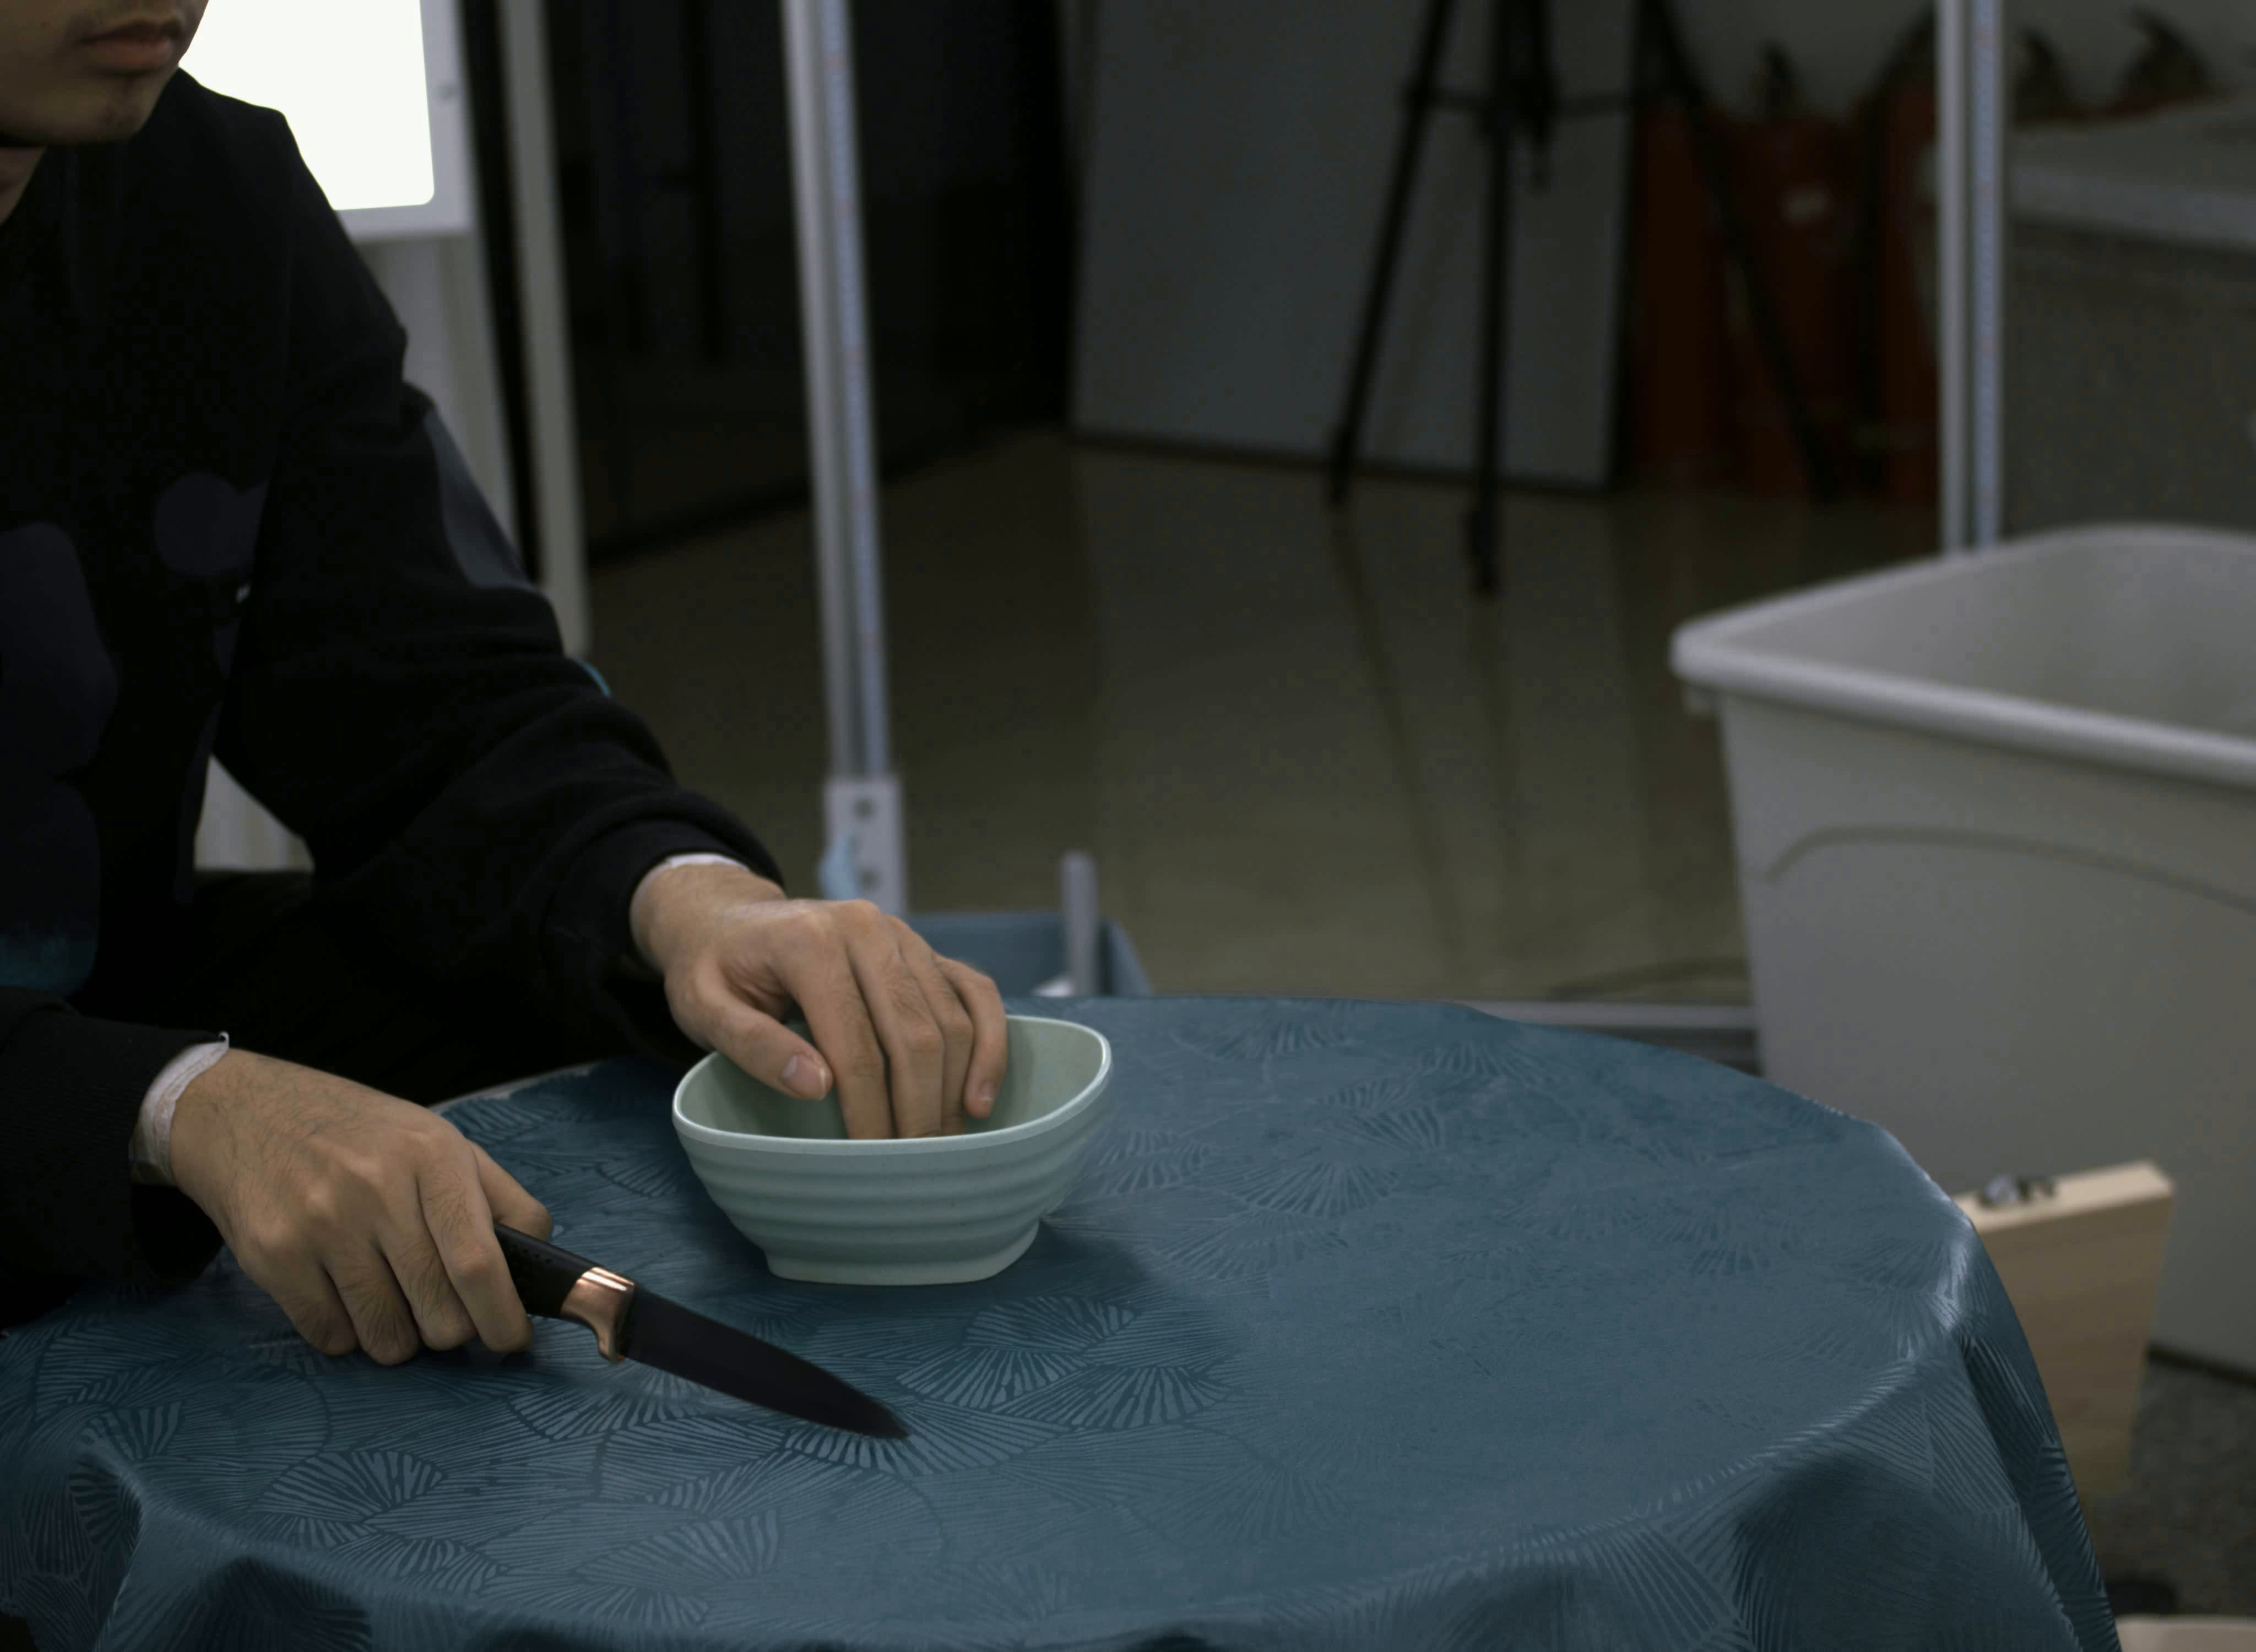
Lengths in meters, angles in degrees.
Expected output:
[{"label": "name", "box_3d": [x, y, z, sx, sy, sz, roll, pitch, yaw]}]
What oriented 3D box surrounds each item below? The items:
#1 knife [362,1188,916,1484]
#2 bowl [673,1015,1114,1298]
[{"label": "knife", "box_3d": [-0.147, 0.151, 1.618, 0.227, 0.026, 0.017, 19, 1, 35]}, {"label": "bowl", "box_3d": [-0.072, 0.109, 1.728, 0.149, 0.059, 0.152, -4, 15, 0]}]
